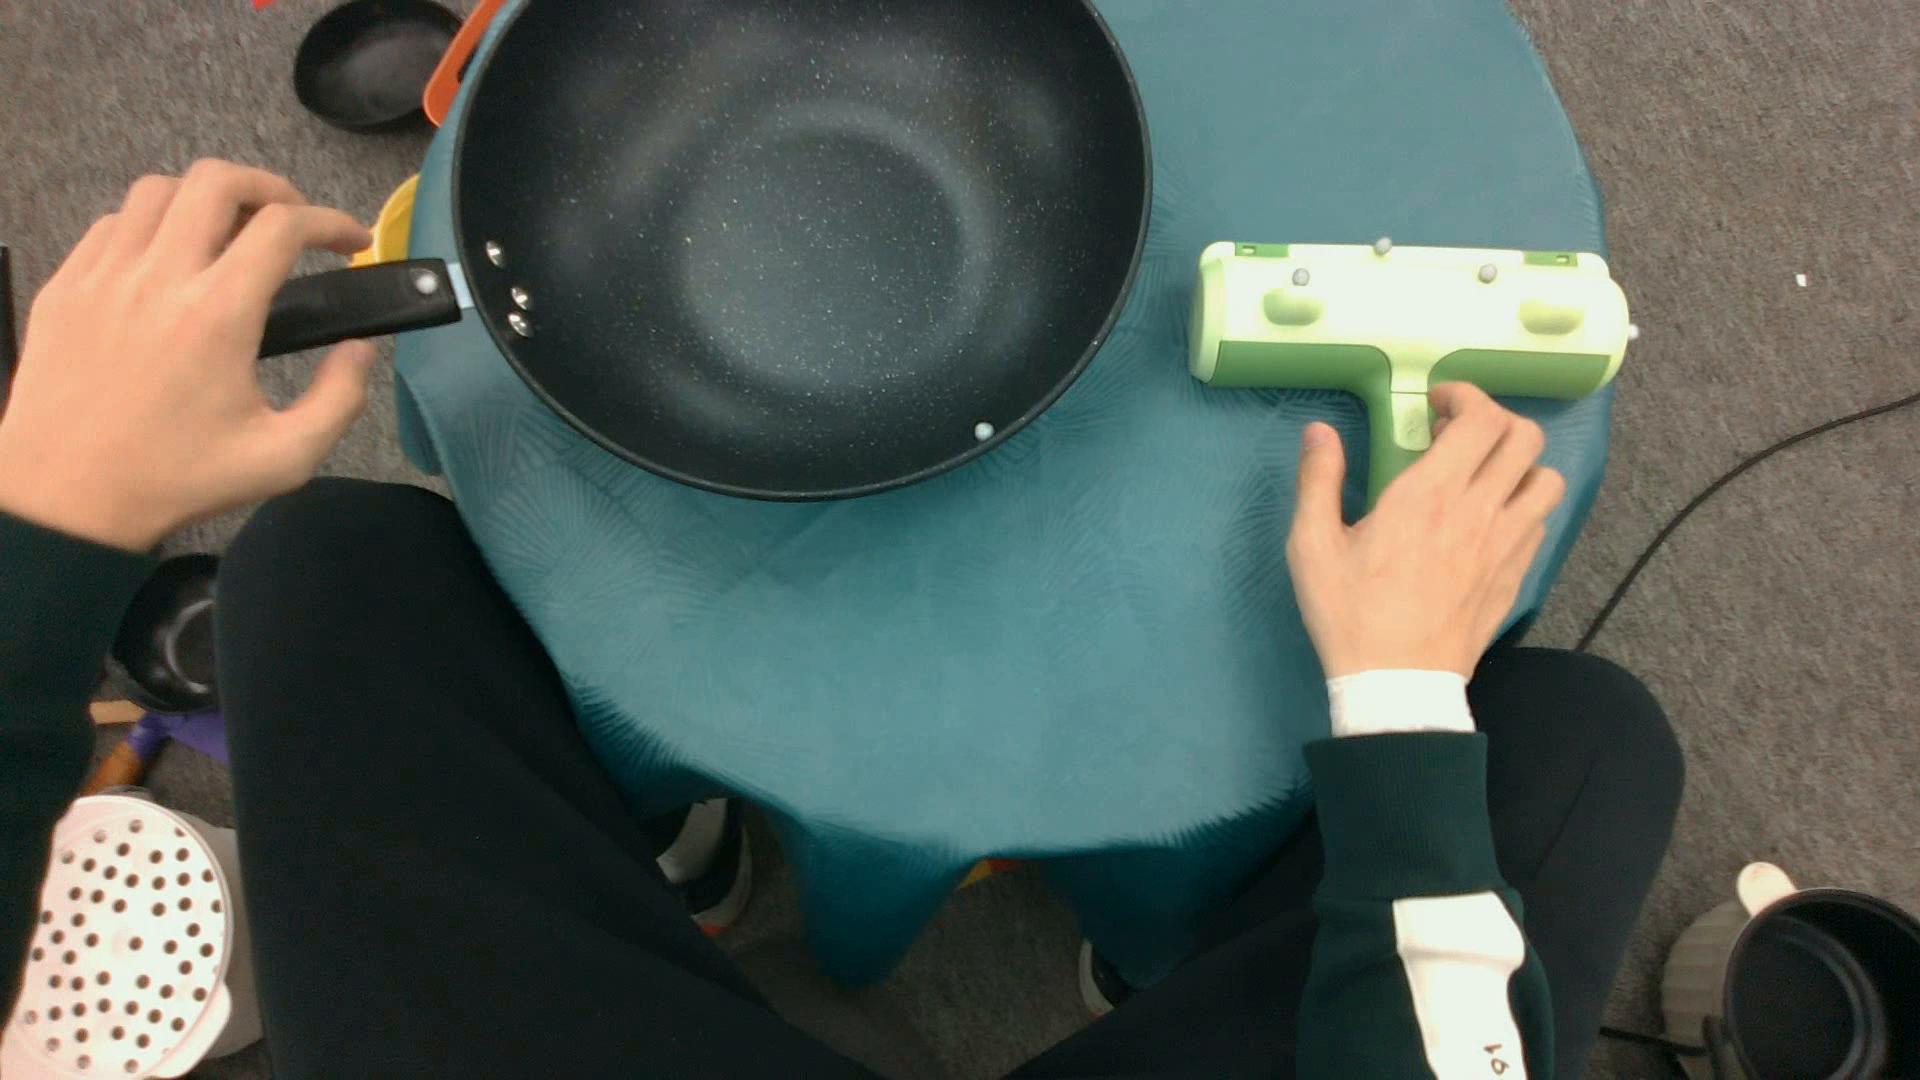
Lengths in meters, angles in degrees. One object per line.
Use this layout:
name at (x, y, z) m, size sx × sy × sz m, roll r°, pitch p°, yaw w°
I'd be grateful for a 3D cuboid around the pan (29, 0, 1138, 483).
pan at (-0.152, -0.134, 0.631) m, size 0.477 × 0.111 × 0.310 m, roll -21°, pitch 74°, yaw -8°

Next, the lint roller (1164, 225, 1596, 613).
lint roller at (0.198, -0.063, 0.633) m, size 0.198 × 0.082 × 0.184 m, roll 1°, pitch 69°, yaw -1°
